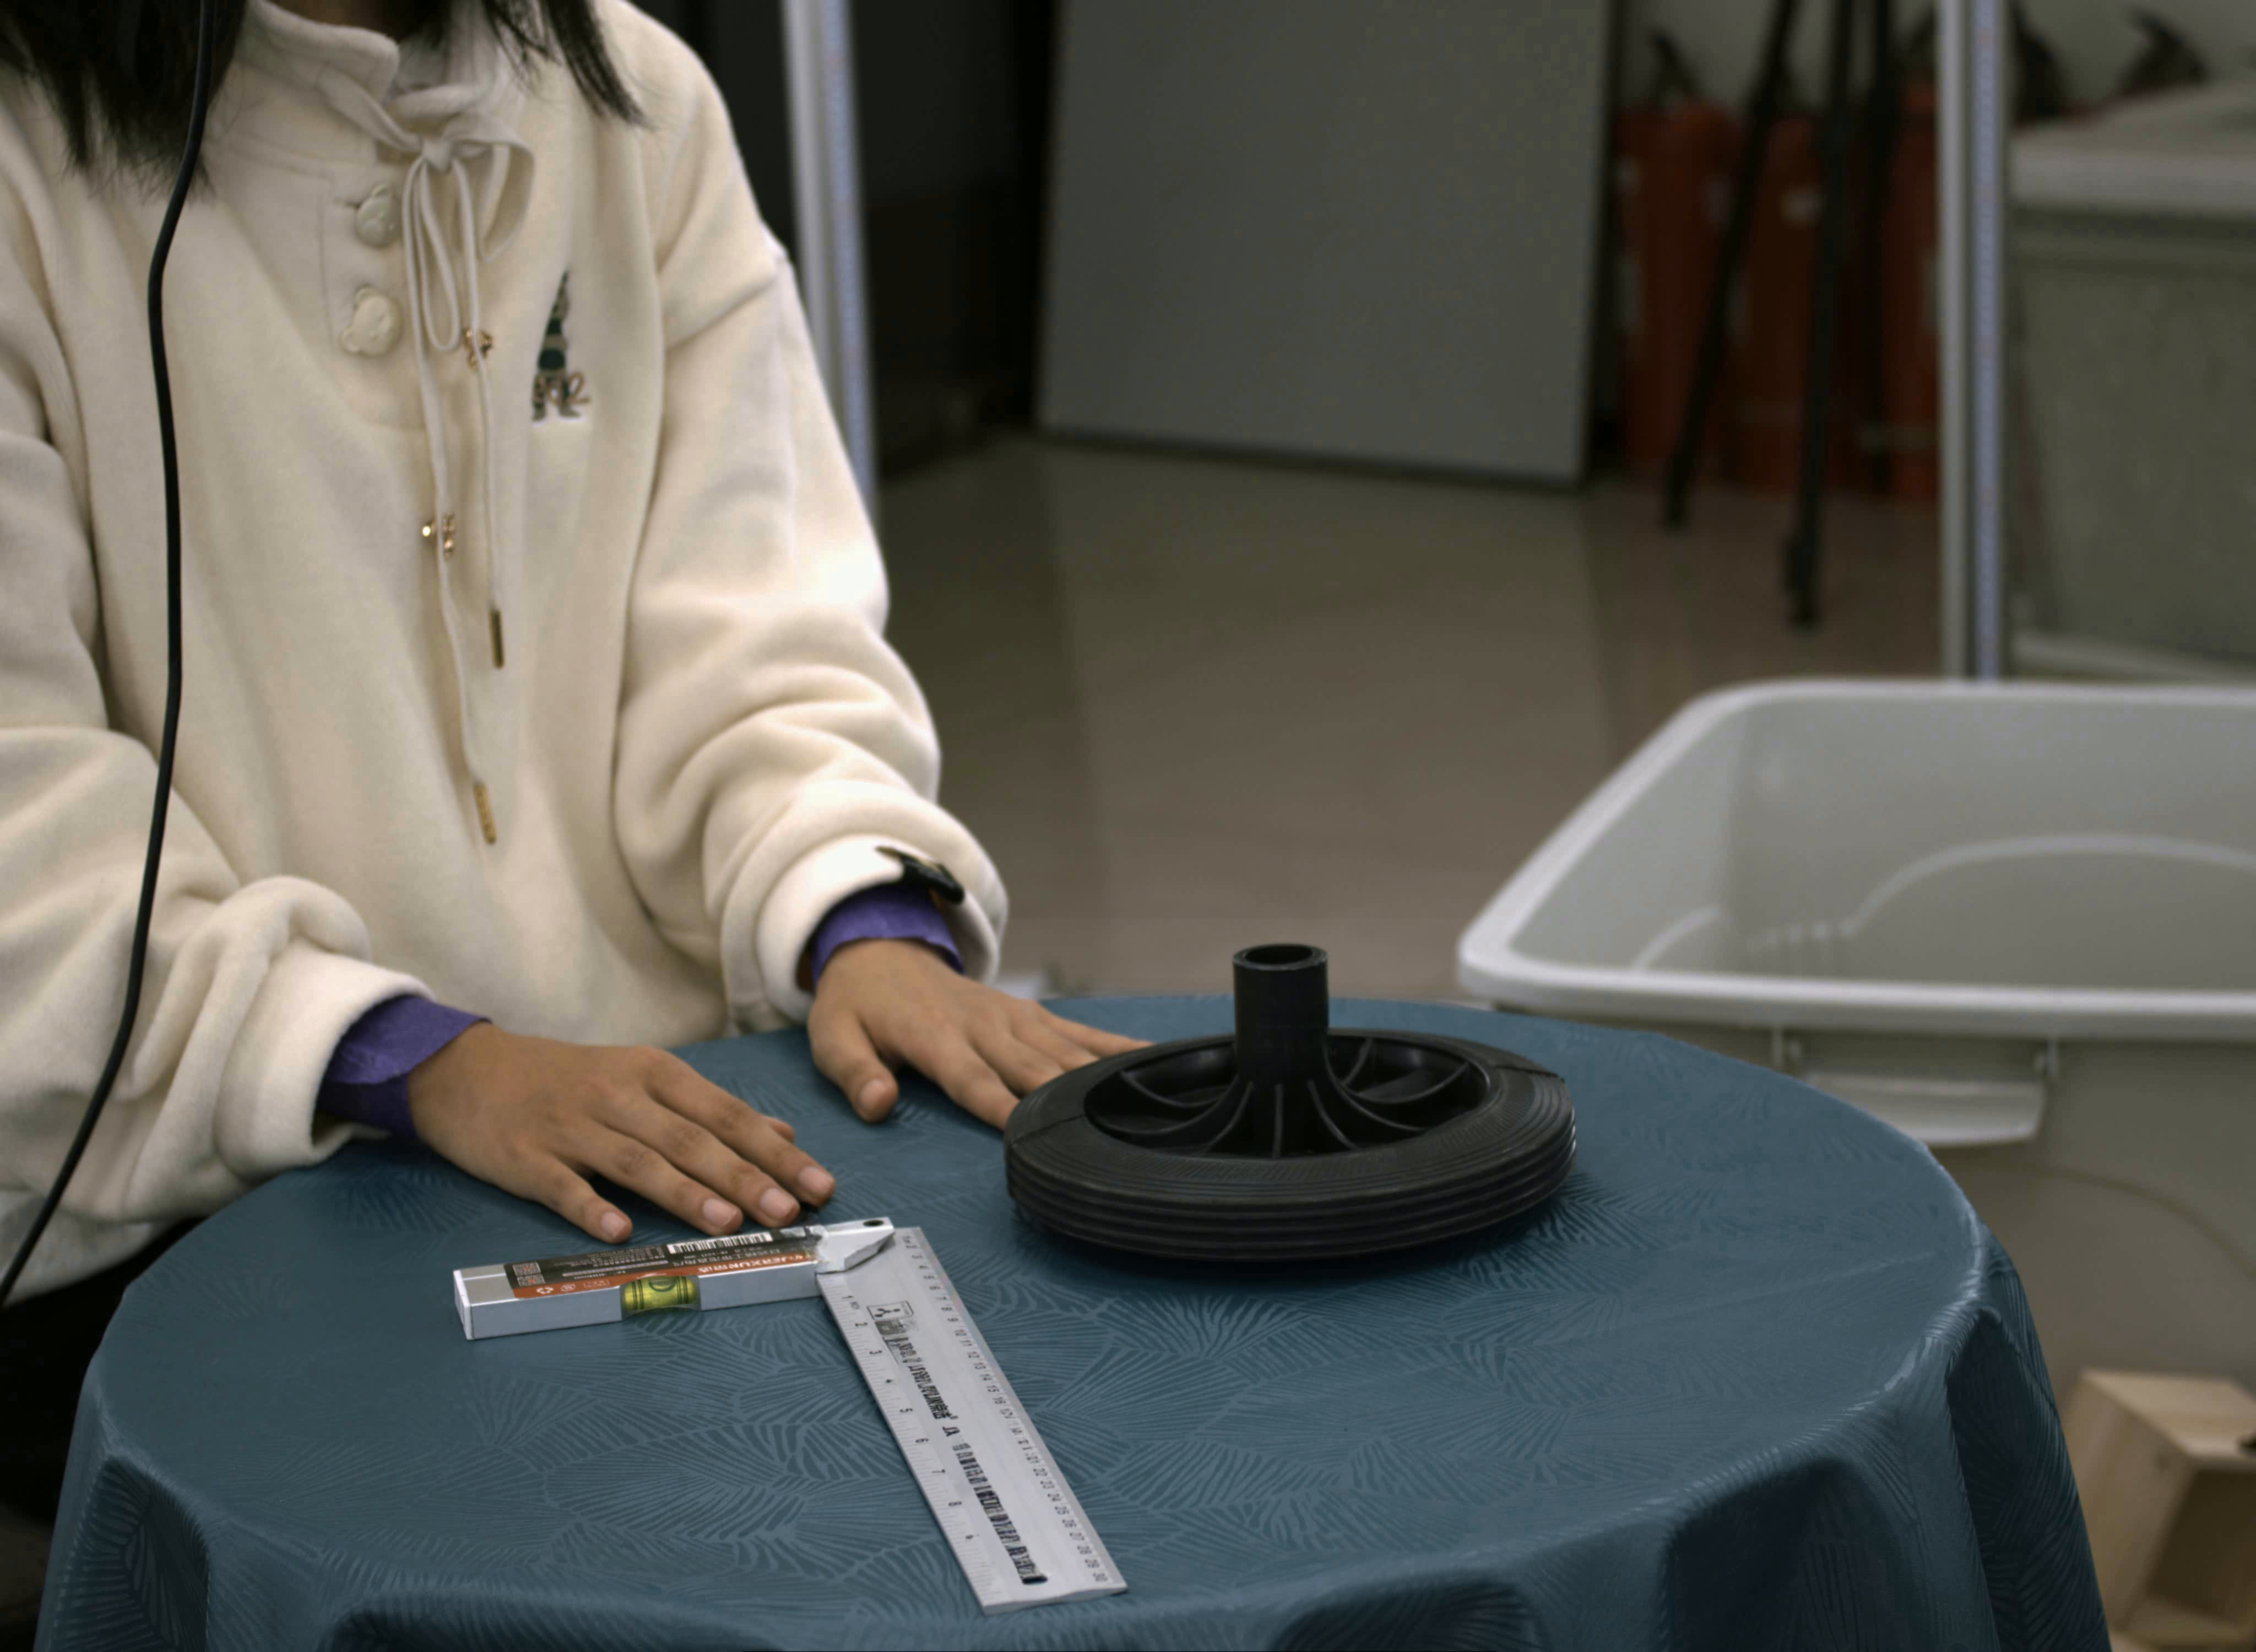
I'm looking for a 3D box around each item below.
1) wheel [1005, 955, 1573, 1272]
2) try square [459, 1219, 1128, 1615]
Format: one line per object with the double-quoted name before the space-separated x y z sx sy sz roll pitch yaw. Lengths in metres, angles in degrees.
"wheel" 0.051 0.084 1.745 0.187 0.080 0.187 2 15 25
"try square" -0.105 0.177 1.569 0.149 0.016 0.315 -10 15 -10
